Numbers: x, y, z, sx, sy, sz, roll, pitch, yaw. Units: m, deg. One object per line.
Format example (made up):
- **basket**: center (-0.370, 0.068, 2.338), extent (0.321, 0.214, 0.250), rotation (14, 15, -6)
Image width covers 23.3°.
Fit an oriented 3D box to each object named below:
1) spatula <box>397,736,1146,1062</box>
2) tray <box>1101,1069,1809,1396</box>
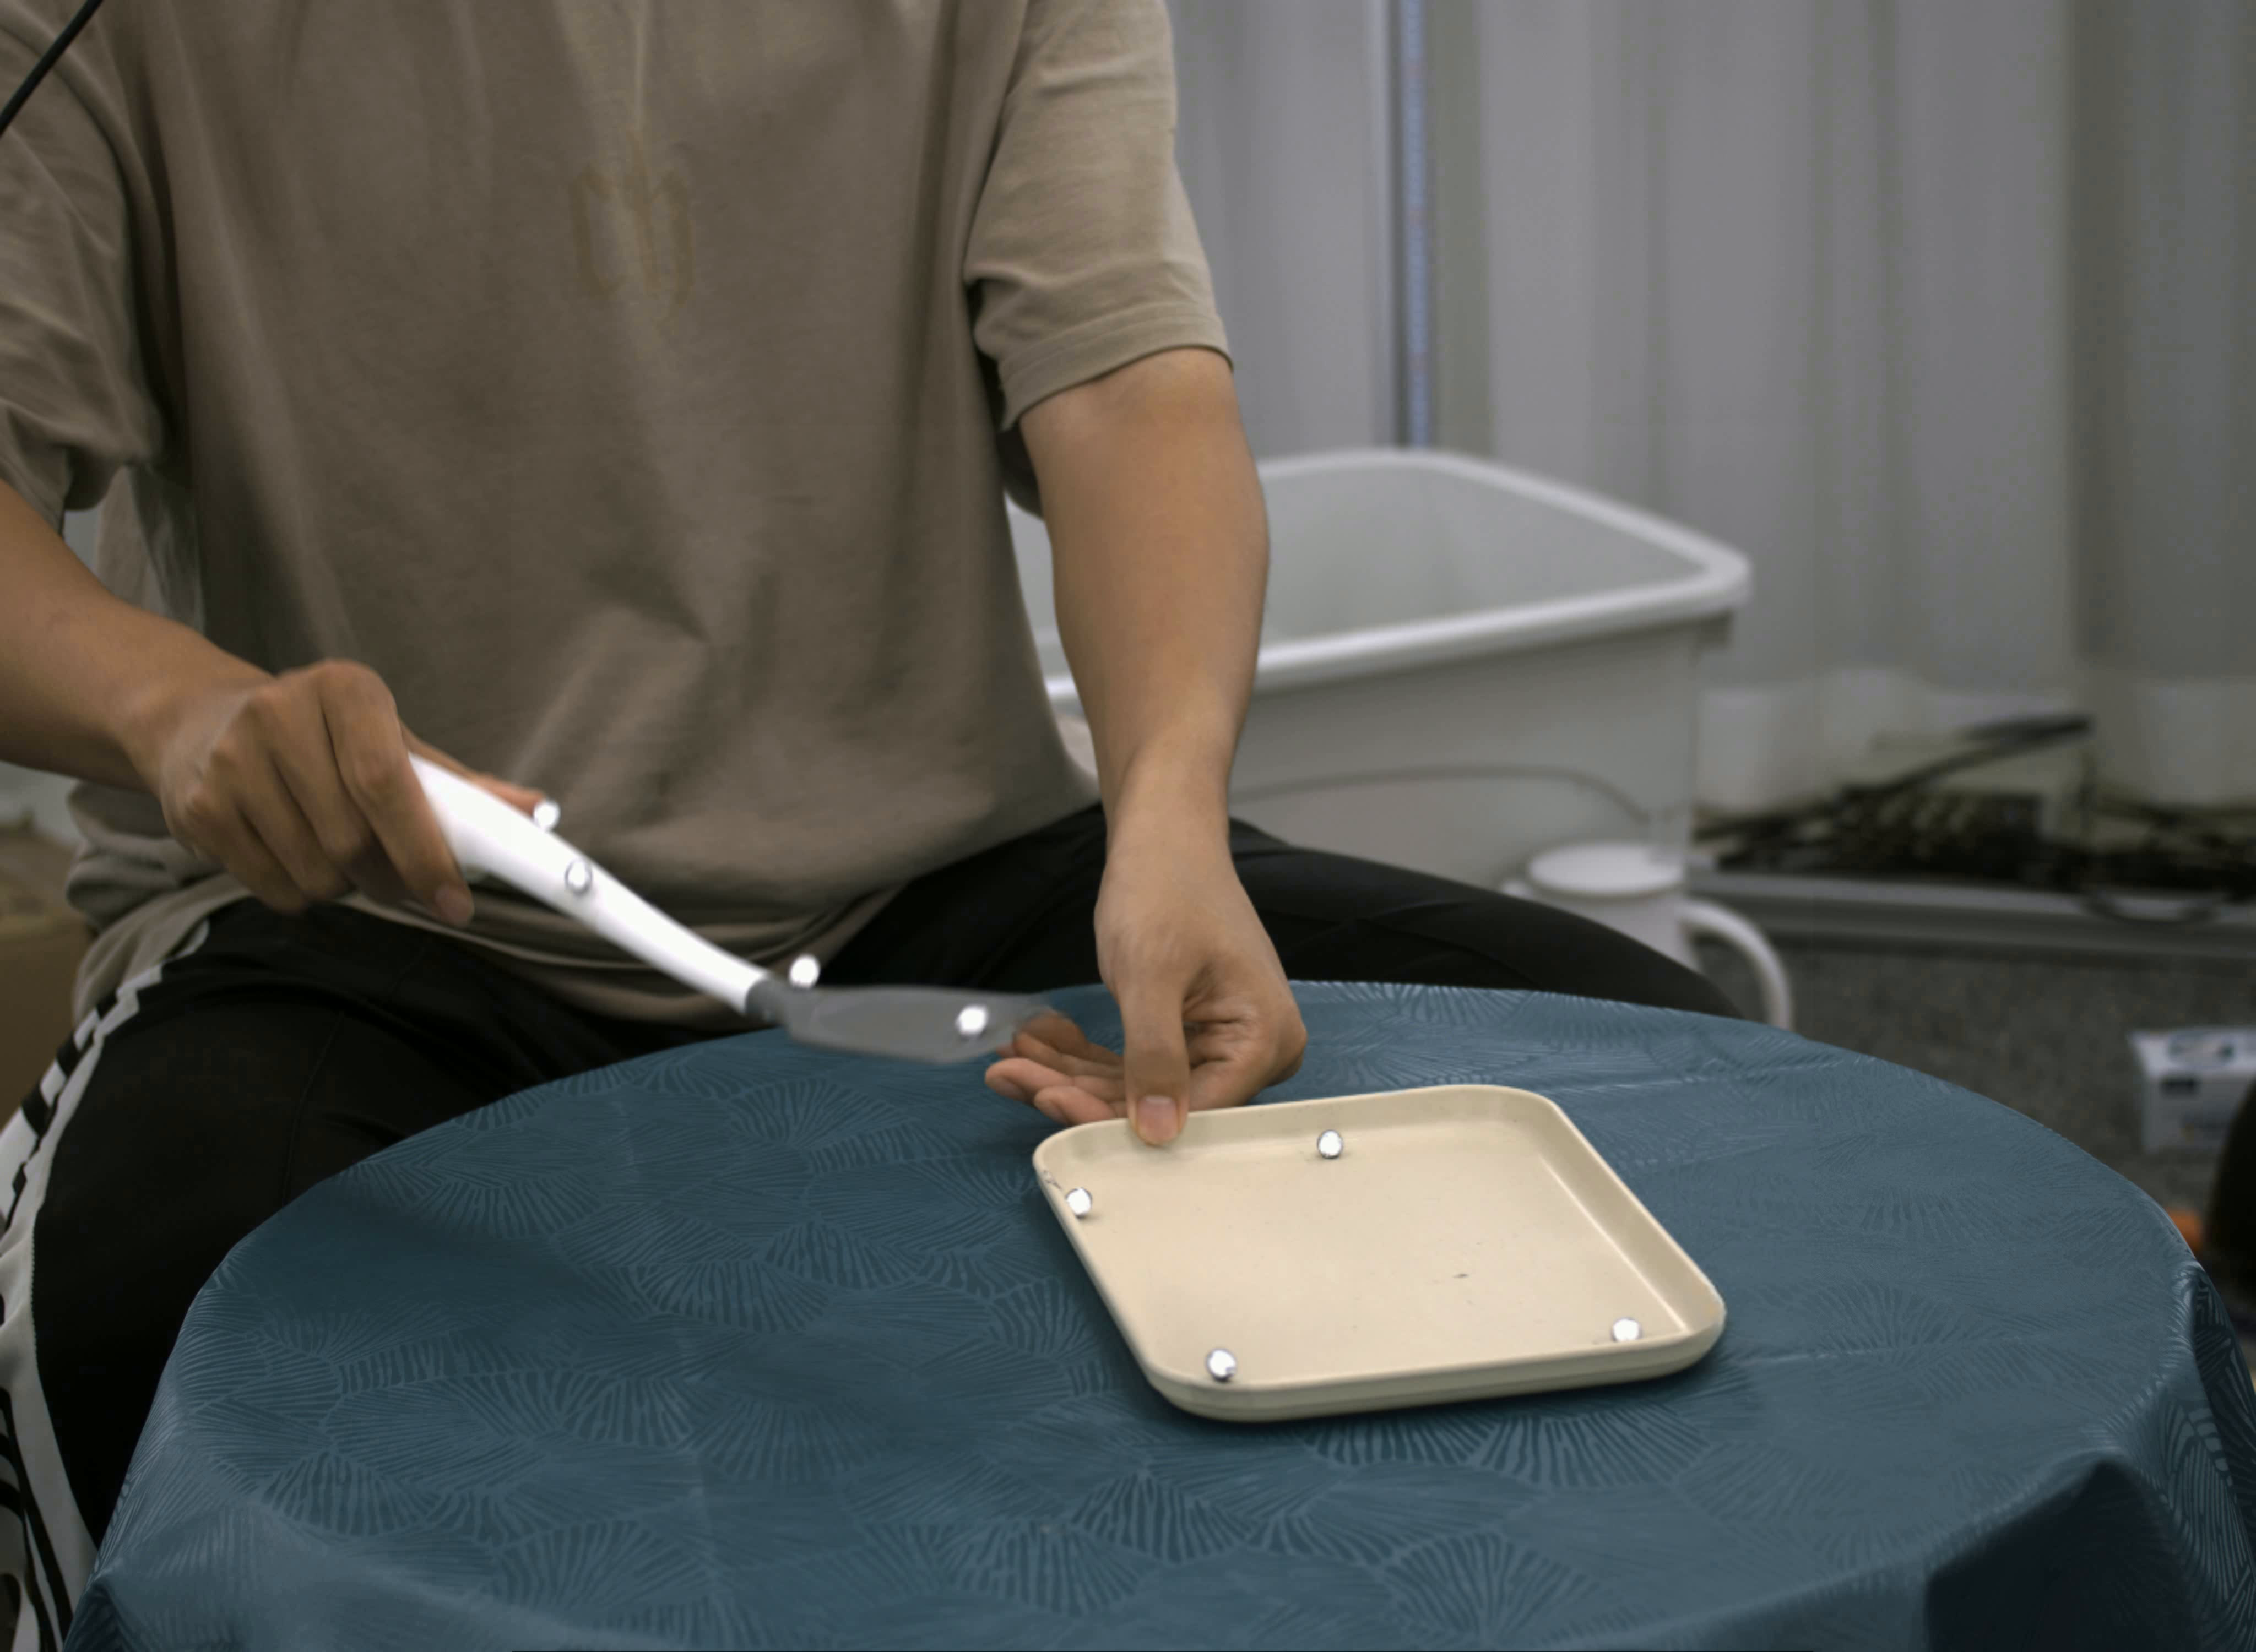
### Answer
- **spatula**: center (-0.111, 0.026, 1.590), extent (0.058, 0.032, 0.290), rotation (-15, 26, -43)
- **tray**: center (0.093, 0.120, 1.627), extent (0.170, 0.017, 0.241), rotation (-5, 15, -10)
